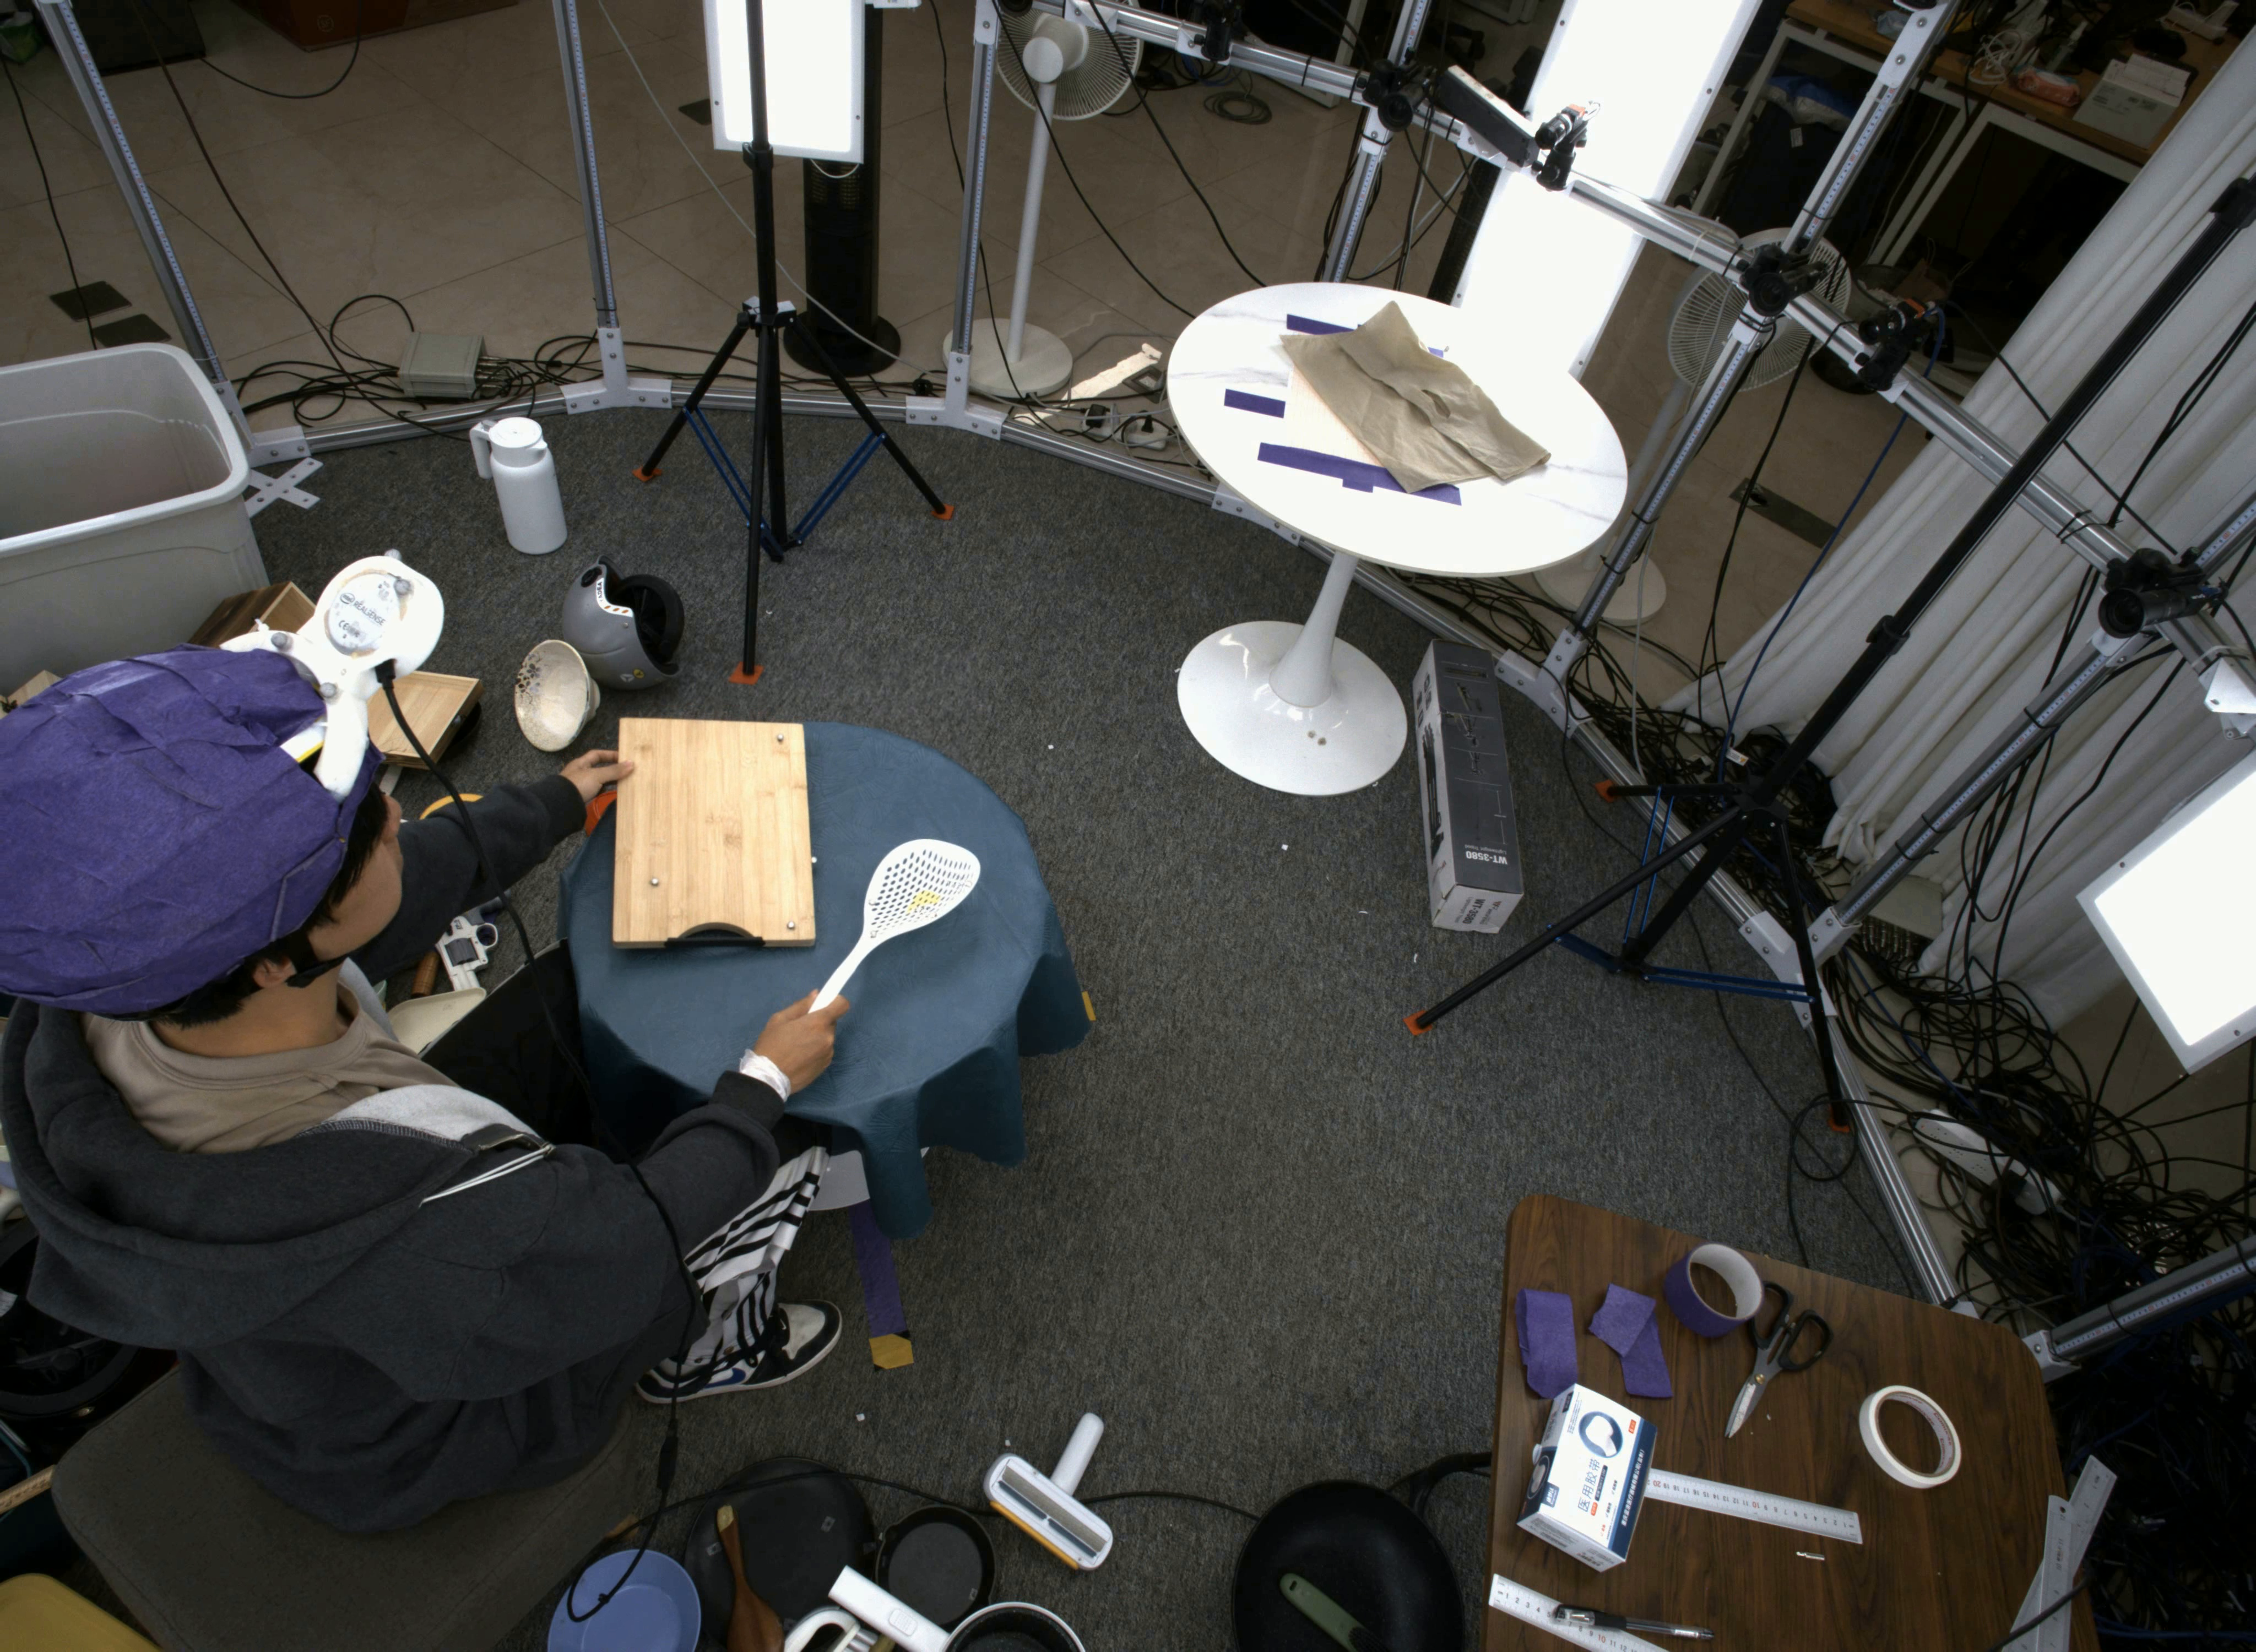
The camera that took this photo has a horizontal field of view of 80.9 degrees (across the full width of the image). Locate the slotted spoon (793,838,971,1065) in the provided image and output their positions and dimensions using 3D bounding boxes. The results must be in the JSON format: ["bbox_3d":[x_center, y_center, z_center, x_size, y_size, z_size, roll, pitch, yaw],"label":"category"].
[{"bbox_3d":[-0.311,0.142,1.573,0.133,0.052,0.346,16,45,19],"label":"slotted spoon"}]

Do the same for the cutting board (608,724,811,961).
[{"bbox_3d":[-0.539,0.012,1.650,0.253,0.024,0.342,0,58,-22],"label":"cutting board"}]
